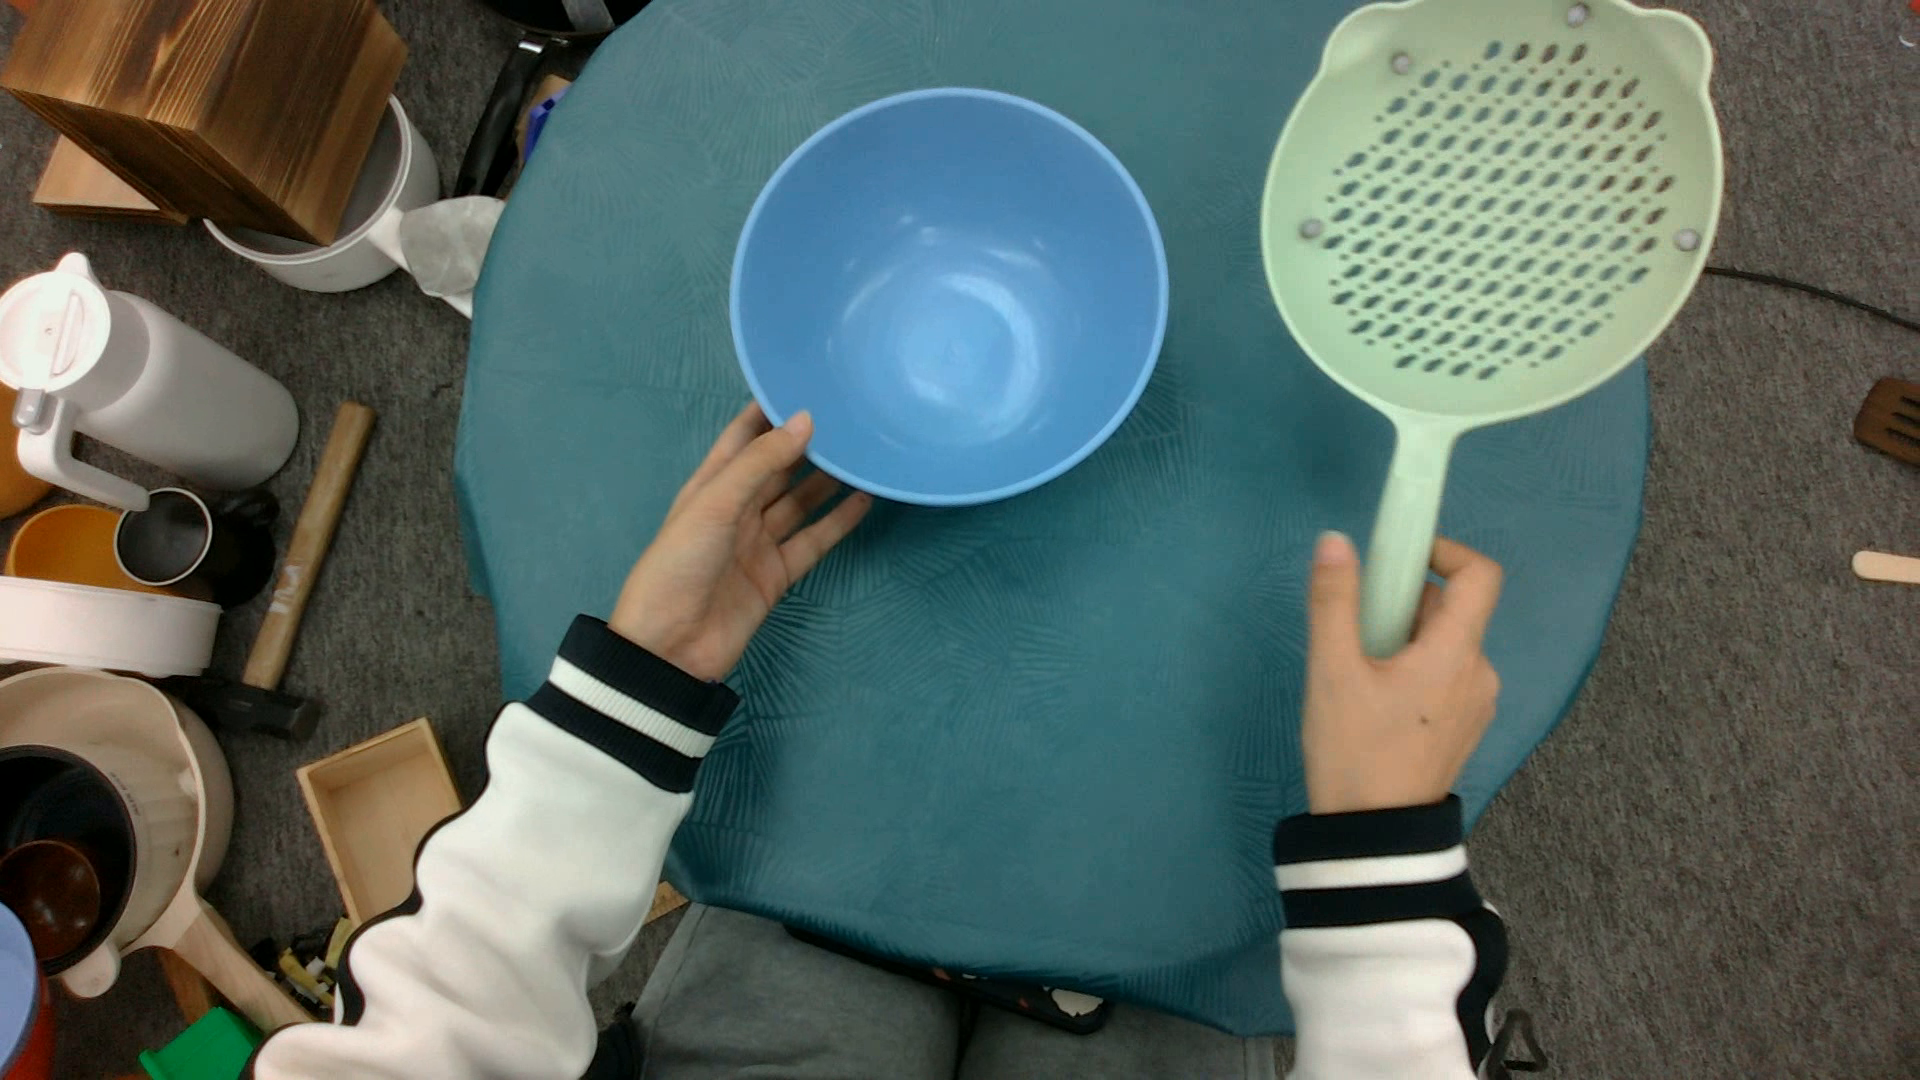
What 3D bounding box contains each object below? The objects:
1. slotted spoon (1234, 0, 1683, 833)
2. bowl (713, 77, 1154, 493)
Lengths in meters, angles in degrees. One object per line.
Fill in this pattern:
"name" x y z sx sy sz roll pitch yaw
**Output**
"slotted spoon" 0.183 -0.046 0.575 0.169 0.075 0.358 13 92 22
"bowl" -0.011 -0.108 0.657 0.196 0.095 0.197 0 78 1
